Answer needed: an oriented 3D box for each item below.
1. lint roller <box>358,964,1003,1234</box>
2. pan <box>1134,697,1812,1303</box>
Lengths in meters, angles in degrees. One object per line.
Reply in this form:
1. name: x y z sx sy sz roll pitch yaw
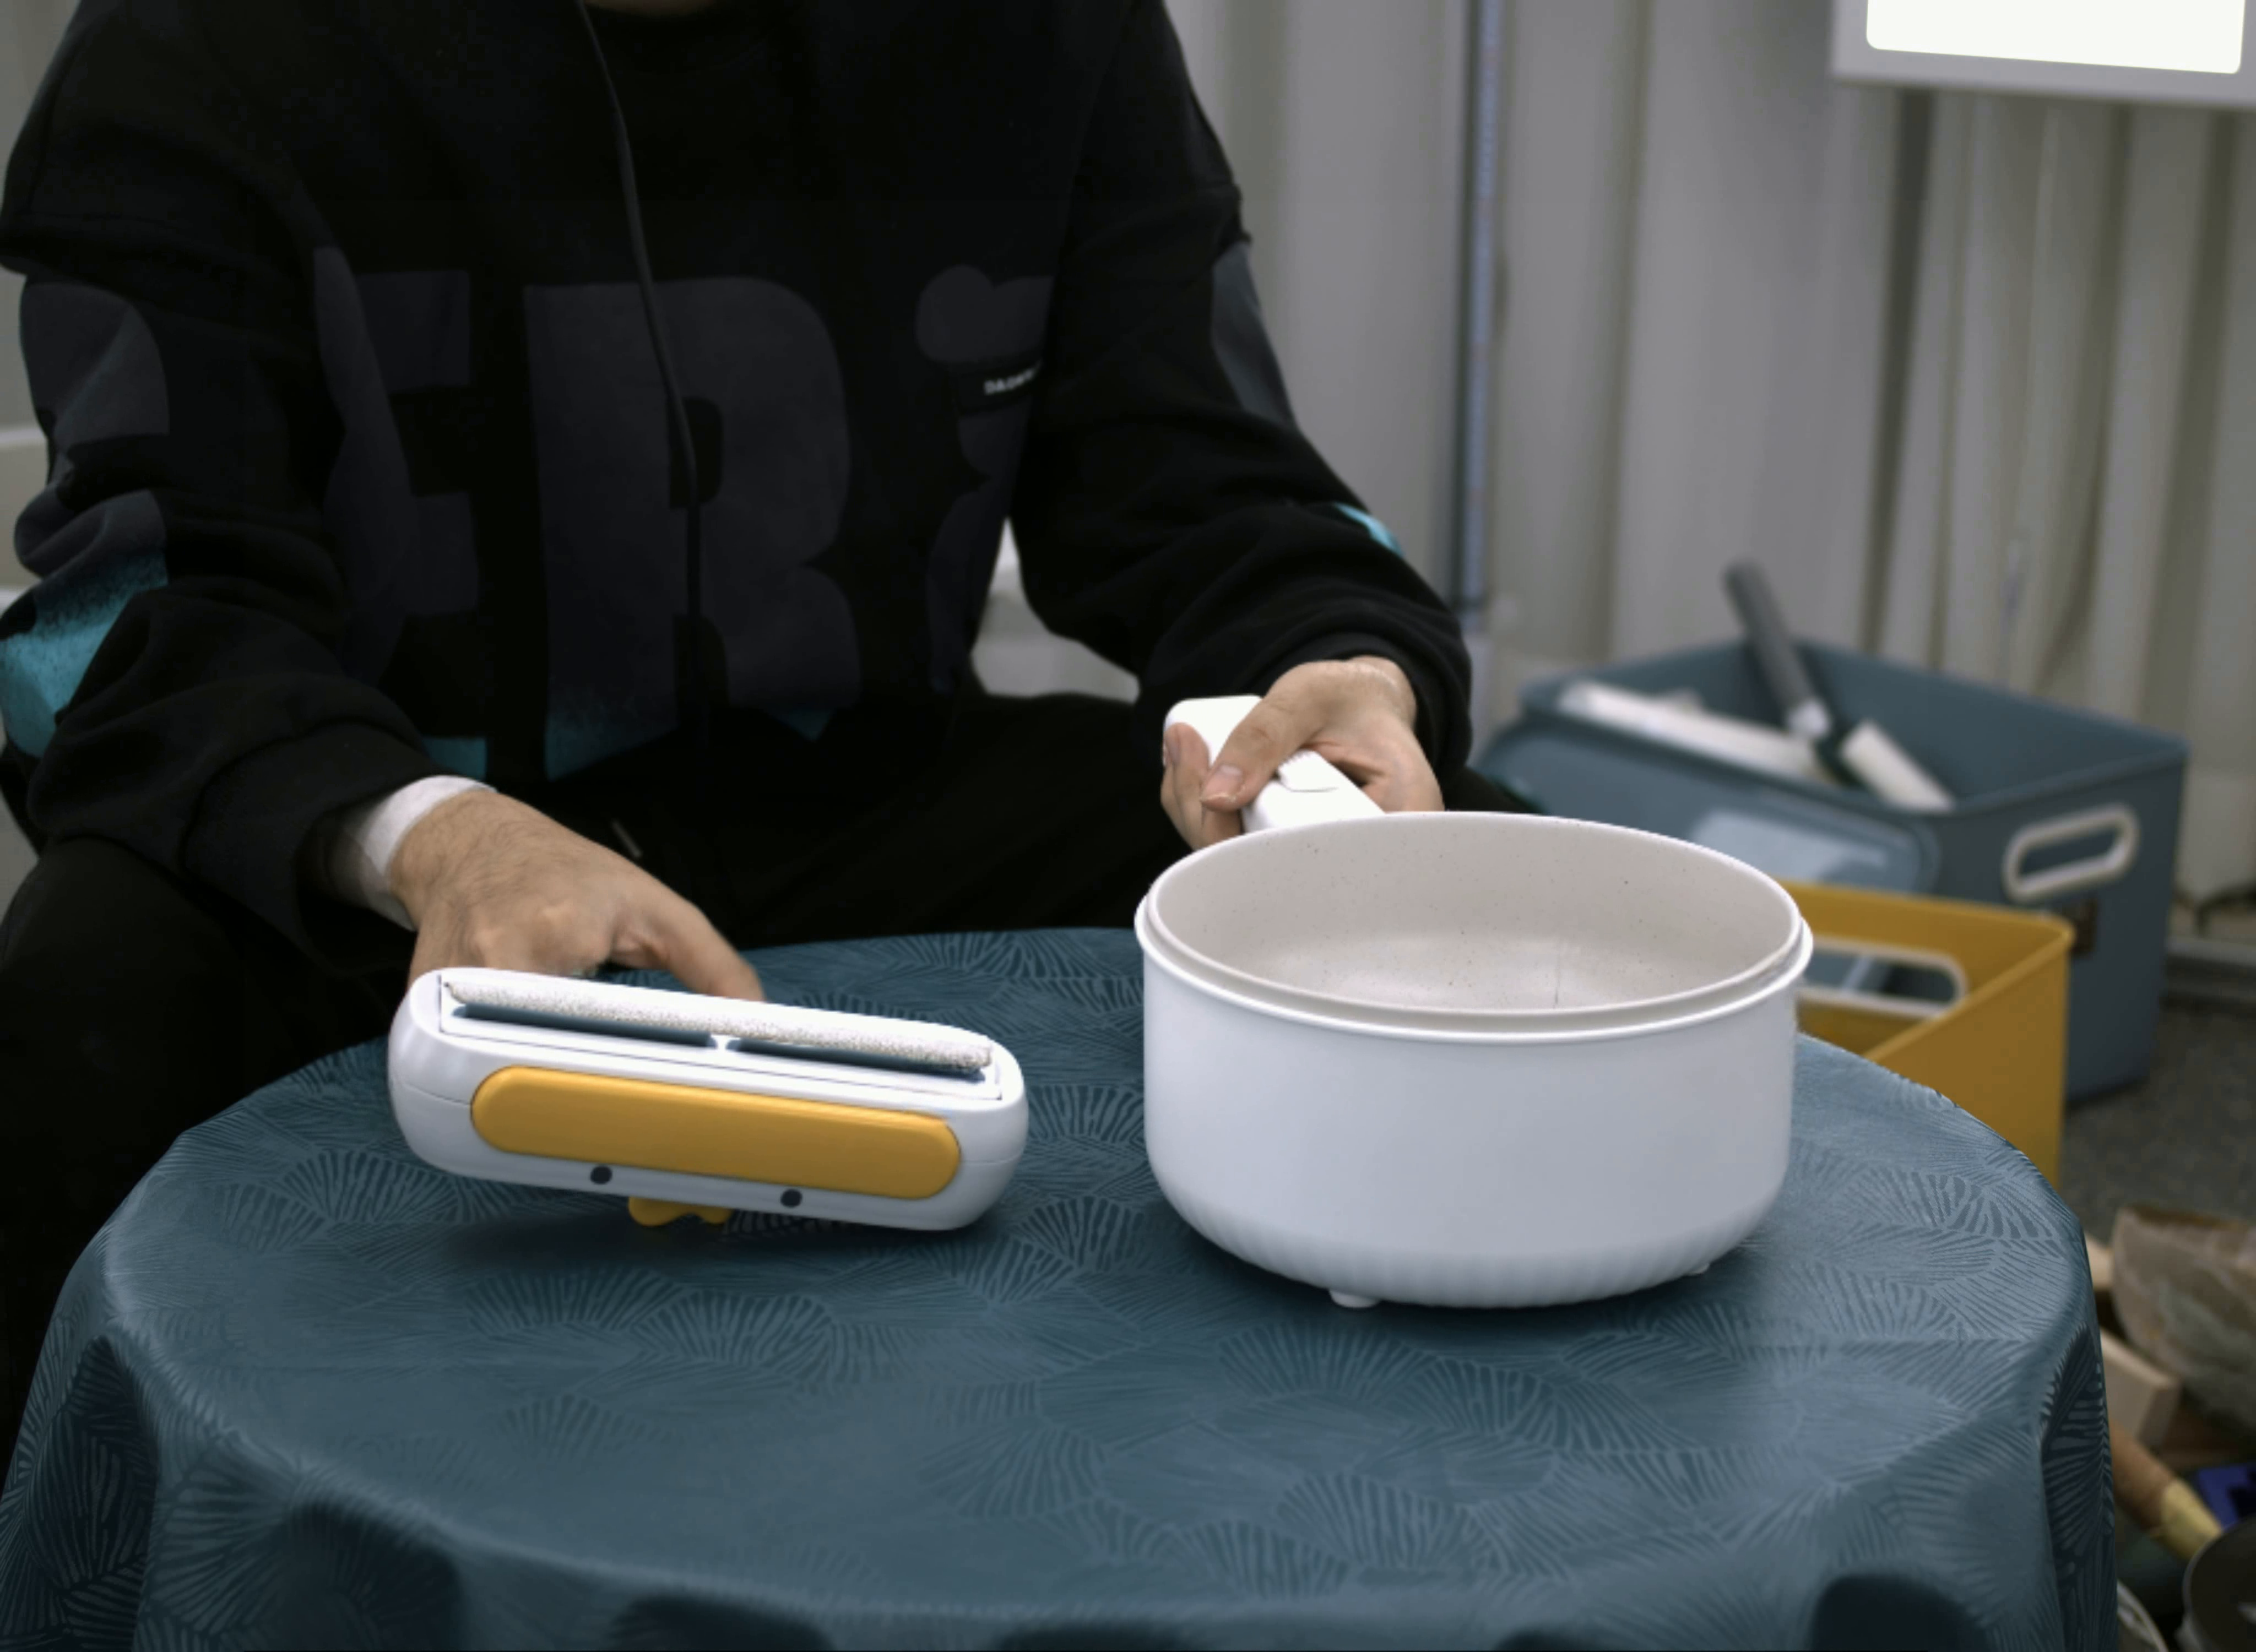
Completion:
1. lint roller: -0.139 0.074 1.628 0.193 0.075 0.191 4 13 -7
2. pan: 0.080 0.050 1.643 0.201 0.103 0.351 -4 17 -16
